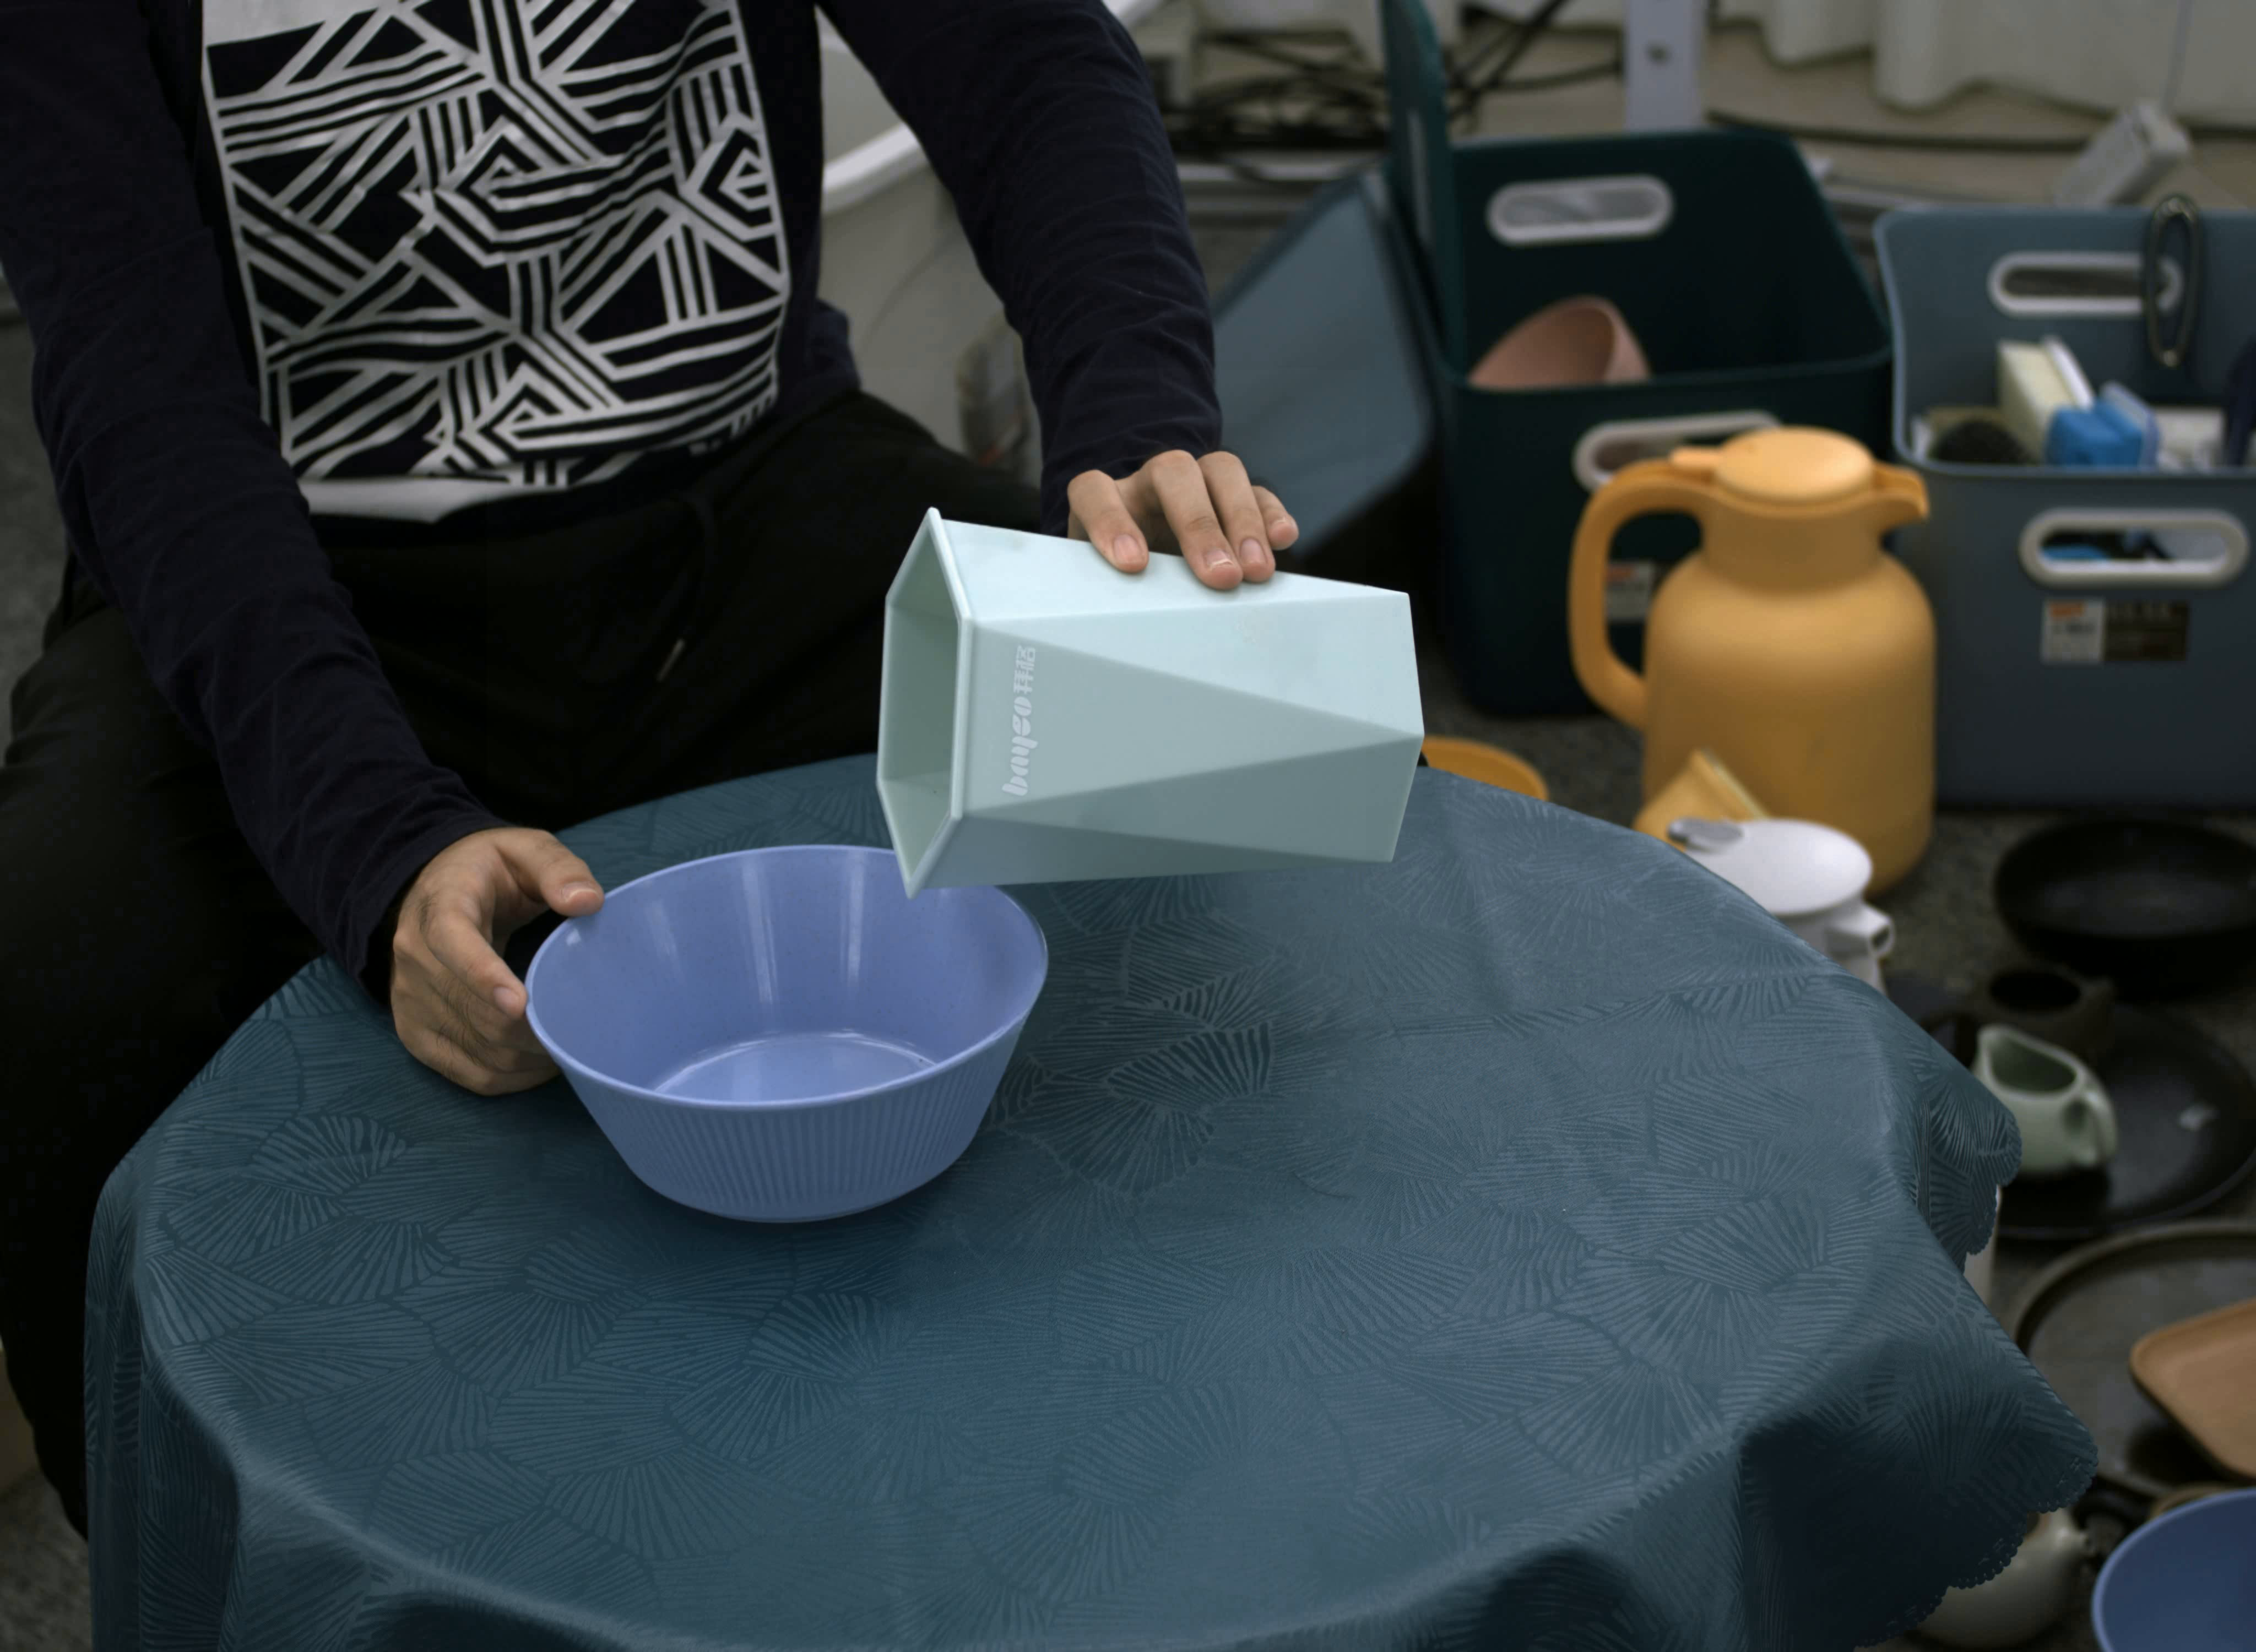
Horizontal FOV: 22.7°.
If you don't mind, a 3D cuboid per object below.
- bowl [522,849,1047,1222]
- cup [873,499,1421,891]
[{"bbox_3d":[-0.113,0.076,1.883,0.175,0.069,0.179,-2,27,1],"label":"bowl"},{"bbox_3d":[0.007,-0.039,1.886,0.162,0.131,0.115,4,1,-15],"label":"cup"}]
